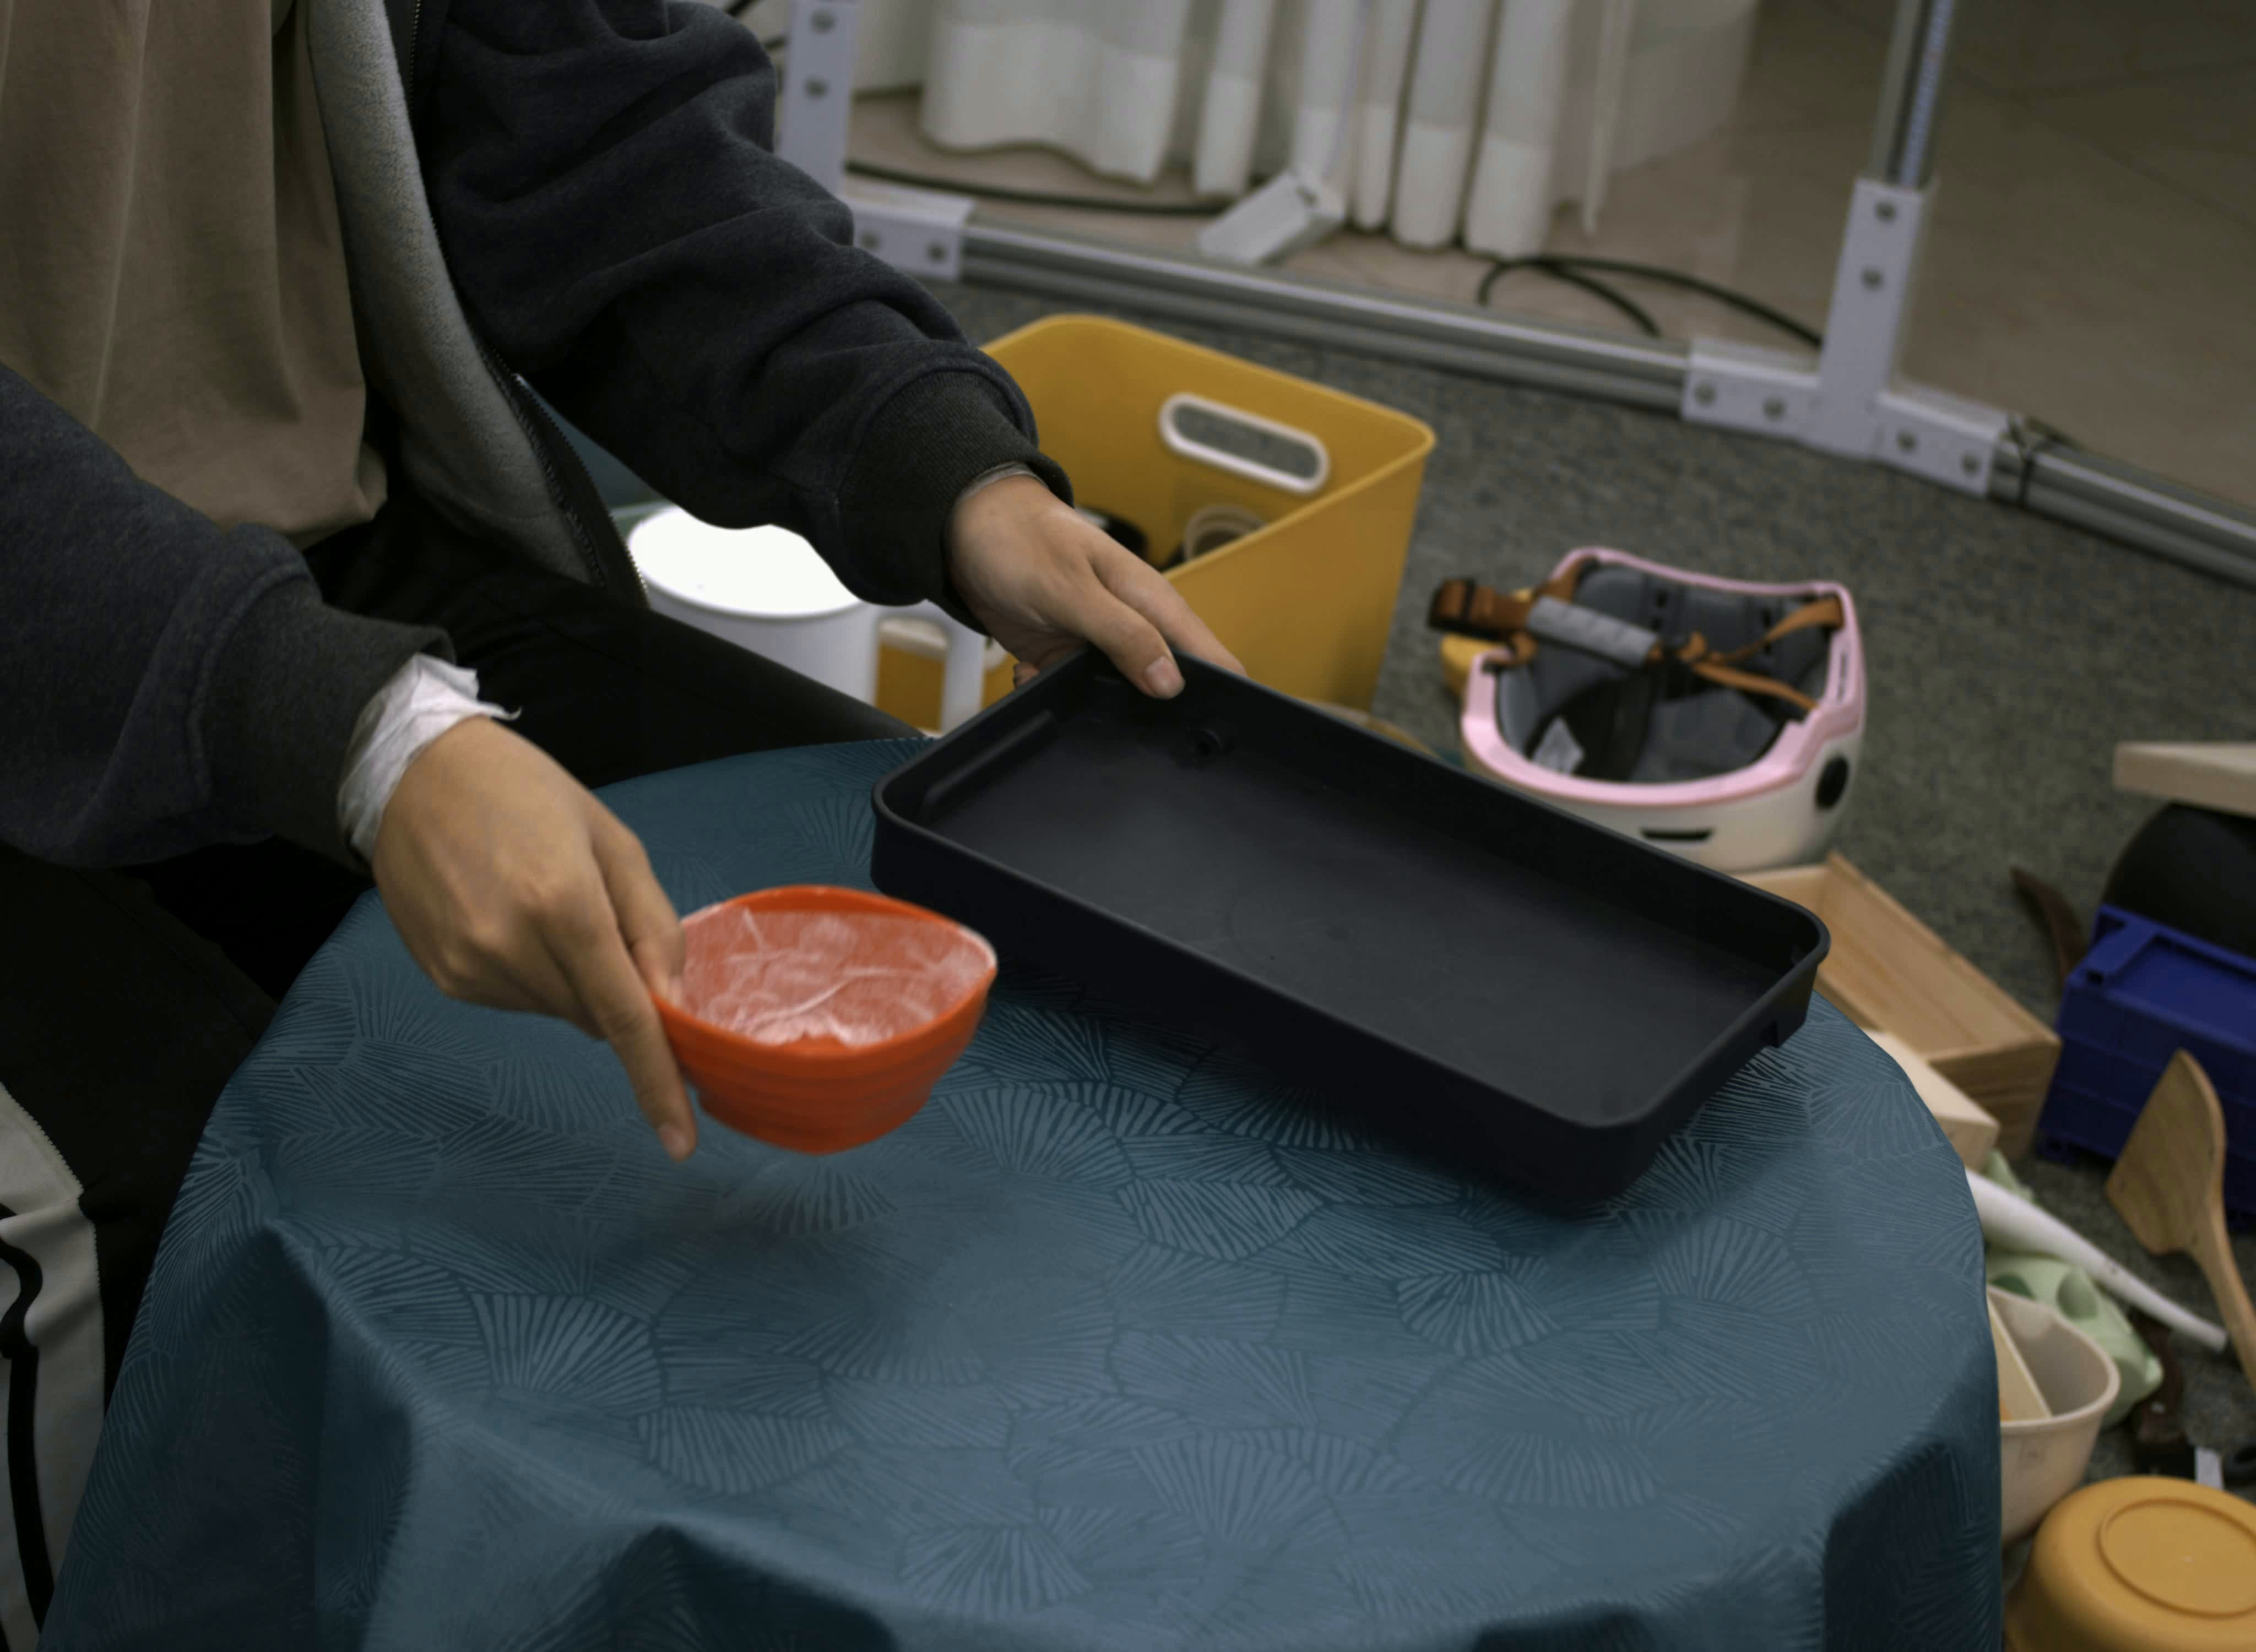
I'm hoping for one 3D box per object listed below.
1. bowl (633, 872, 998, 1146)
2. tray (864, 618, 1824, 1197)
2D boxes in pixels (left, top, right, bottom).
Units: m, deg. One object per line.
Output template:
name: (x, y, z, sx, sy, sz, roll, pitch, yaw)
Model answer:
bowl: (-0.102, 0.063, 1.734, 0.118, 0.051, 0.119, 1, 27, -1)
tray: (0.076, 0.024, 1.917, 0.319, 0.037, 0.184, 24, 34, 24)
